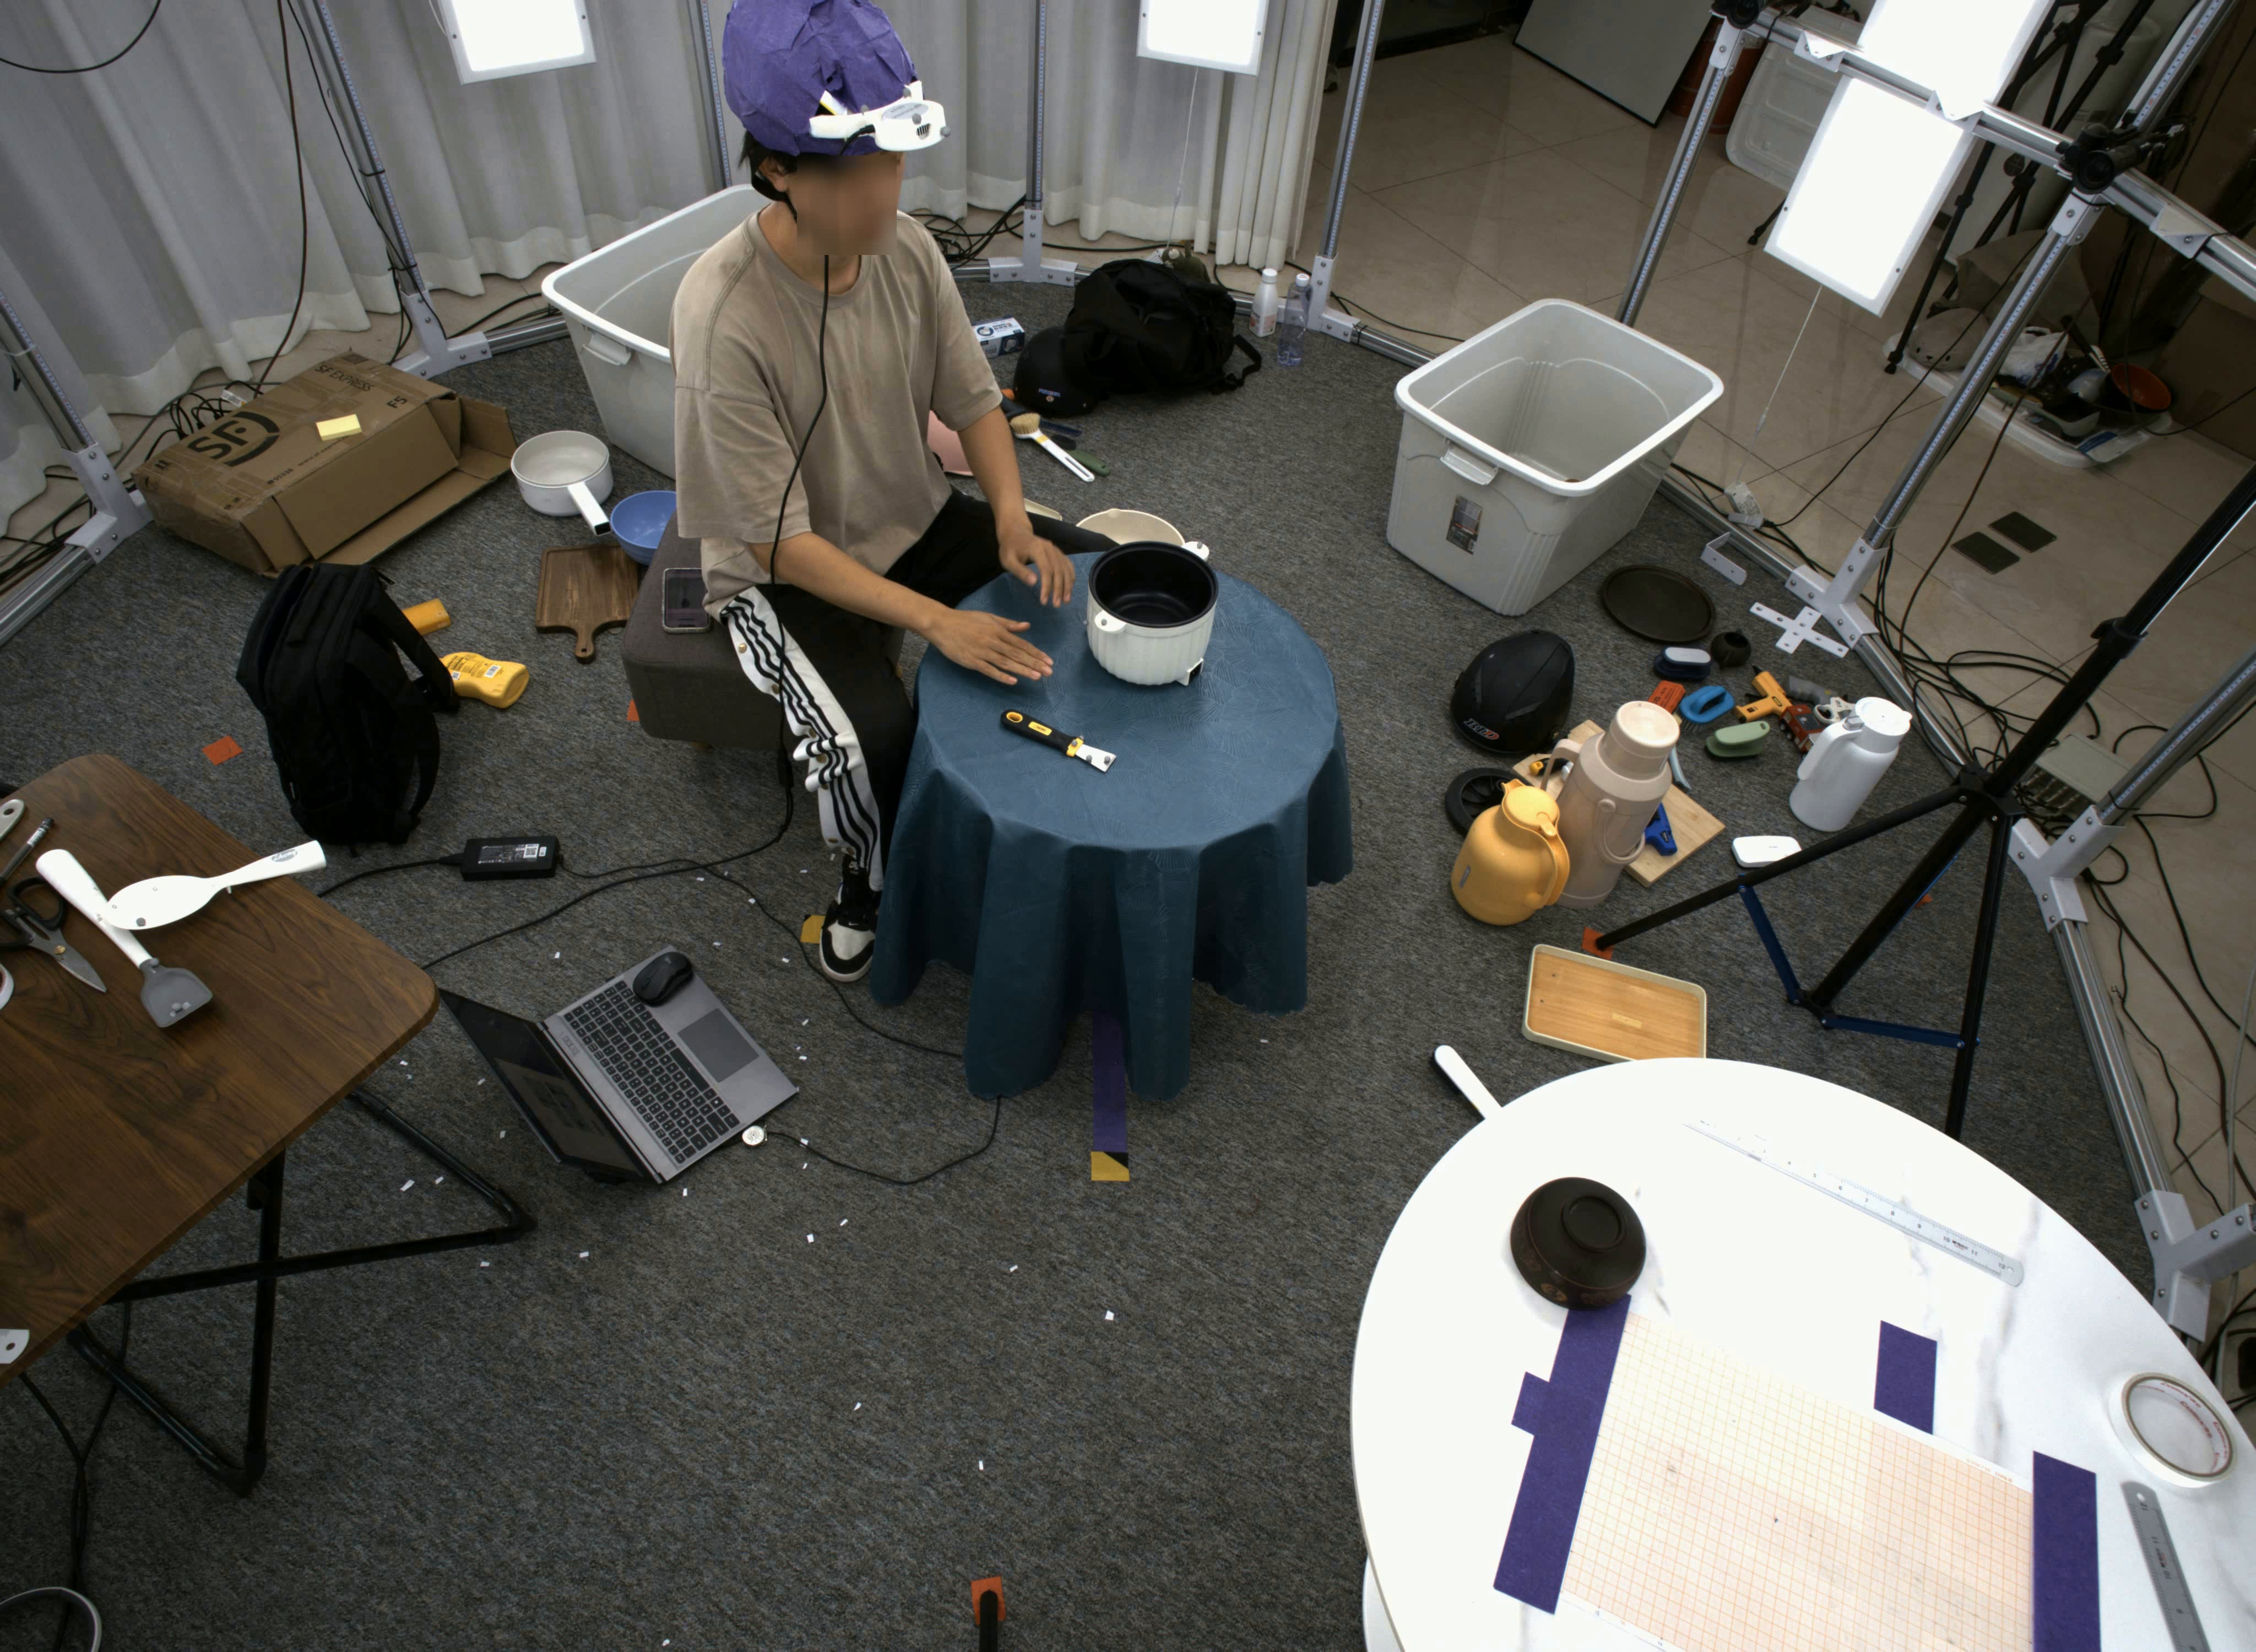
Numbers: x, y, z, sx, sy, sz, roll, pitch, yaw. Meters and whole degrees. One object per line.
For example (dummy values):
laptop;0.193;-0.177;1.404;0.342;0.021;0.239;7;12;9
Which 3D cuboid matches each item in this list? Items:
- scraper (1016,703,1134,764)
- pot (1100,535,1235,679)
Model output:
scraper;-0.075;-0.128;1.745;0.172;0.014;0.039;23;55;12
pot;0.048;-0.307;1.836;0.192;0.139;0.243;33;52;17
